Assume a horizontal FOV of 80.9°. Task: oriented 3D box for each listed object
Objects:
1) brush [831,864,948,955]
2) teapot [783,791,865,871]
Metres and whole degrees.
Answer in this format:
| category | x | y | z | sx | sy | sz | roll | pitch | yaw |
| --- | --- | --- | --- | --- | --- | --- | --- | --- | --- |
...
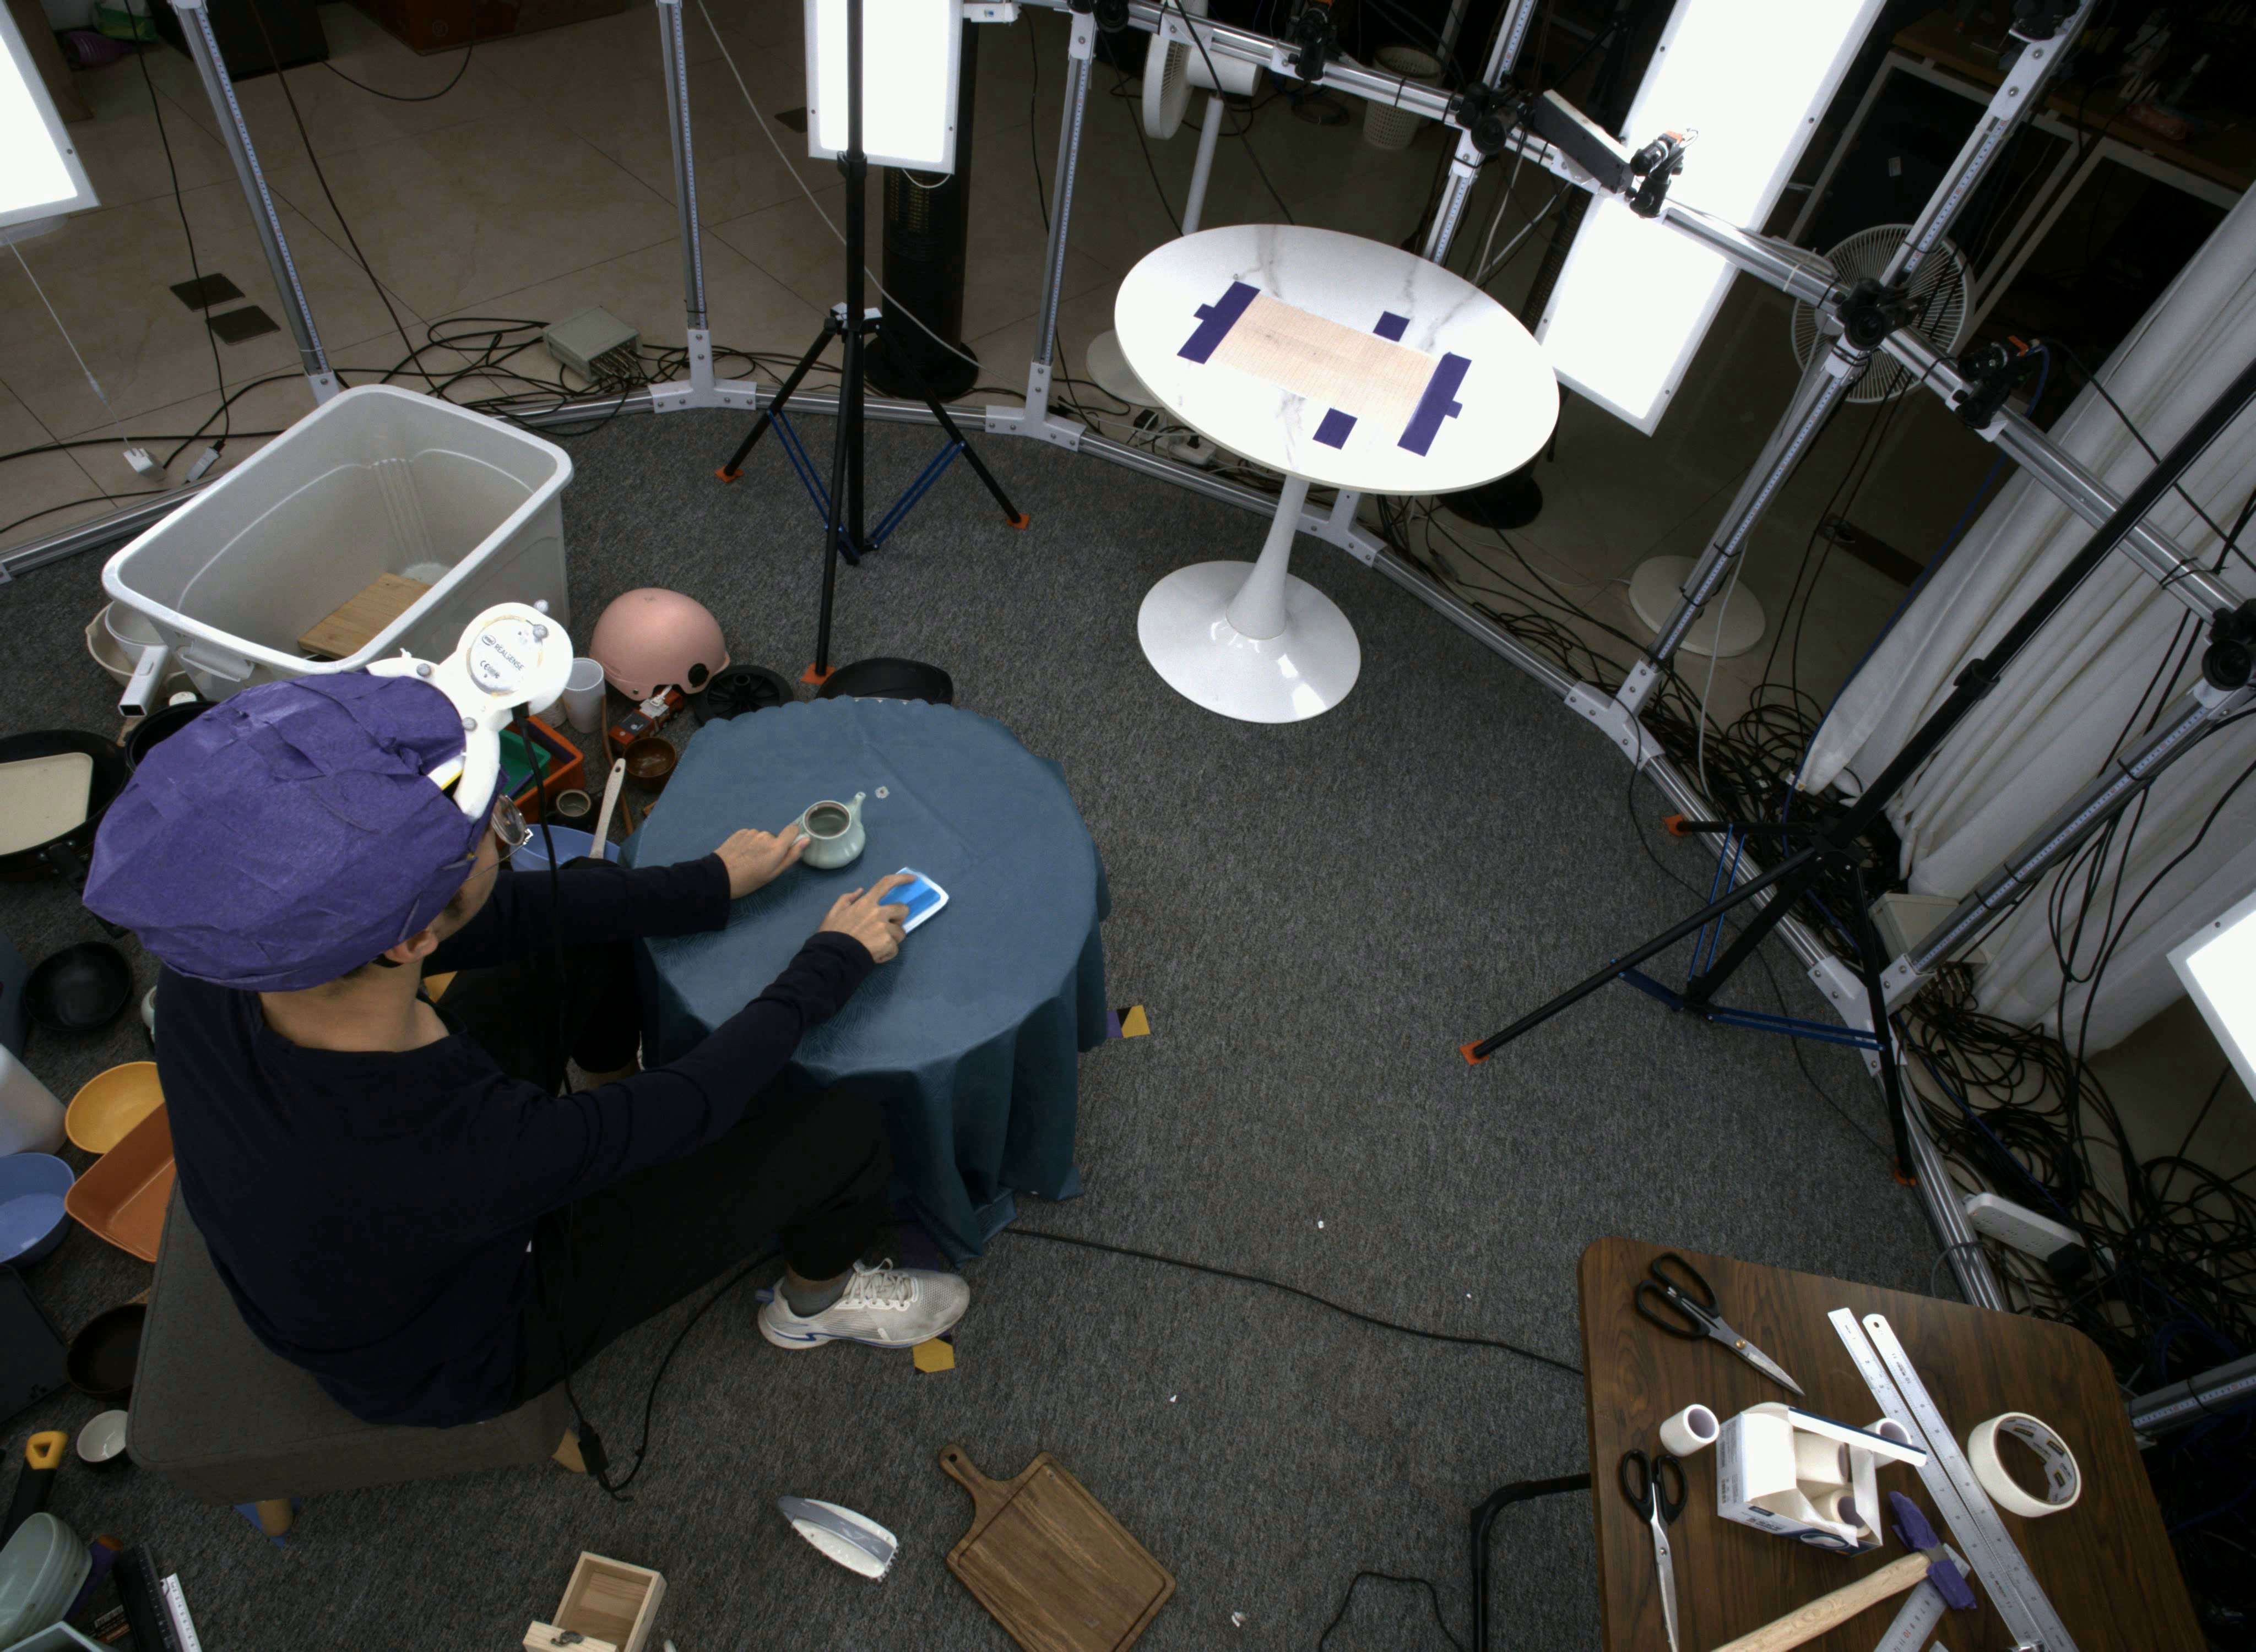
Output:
| category | x | y | z | sx | sy | sz | roll | pitch | yaw |
| --- | --- | --- | --- | --- | --- | --- | --- | --- | --- |
| brush | -0.302 | 0.097 | 1.645 | 0.081 | 0.057 | 0.144 | 41 | 53 | 22 |
| teapot | -0.395 | 0.009 | 1.687 | 0.094 | 0.062 | 0.137 | 39 | 54 | 14 |
